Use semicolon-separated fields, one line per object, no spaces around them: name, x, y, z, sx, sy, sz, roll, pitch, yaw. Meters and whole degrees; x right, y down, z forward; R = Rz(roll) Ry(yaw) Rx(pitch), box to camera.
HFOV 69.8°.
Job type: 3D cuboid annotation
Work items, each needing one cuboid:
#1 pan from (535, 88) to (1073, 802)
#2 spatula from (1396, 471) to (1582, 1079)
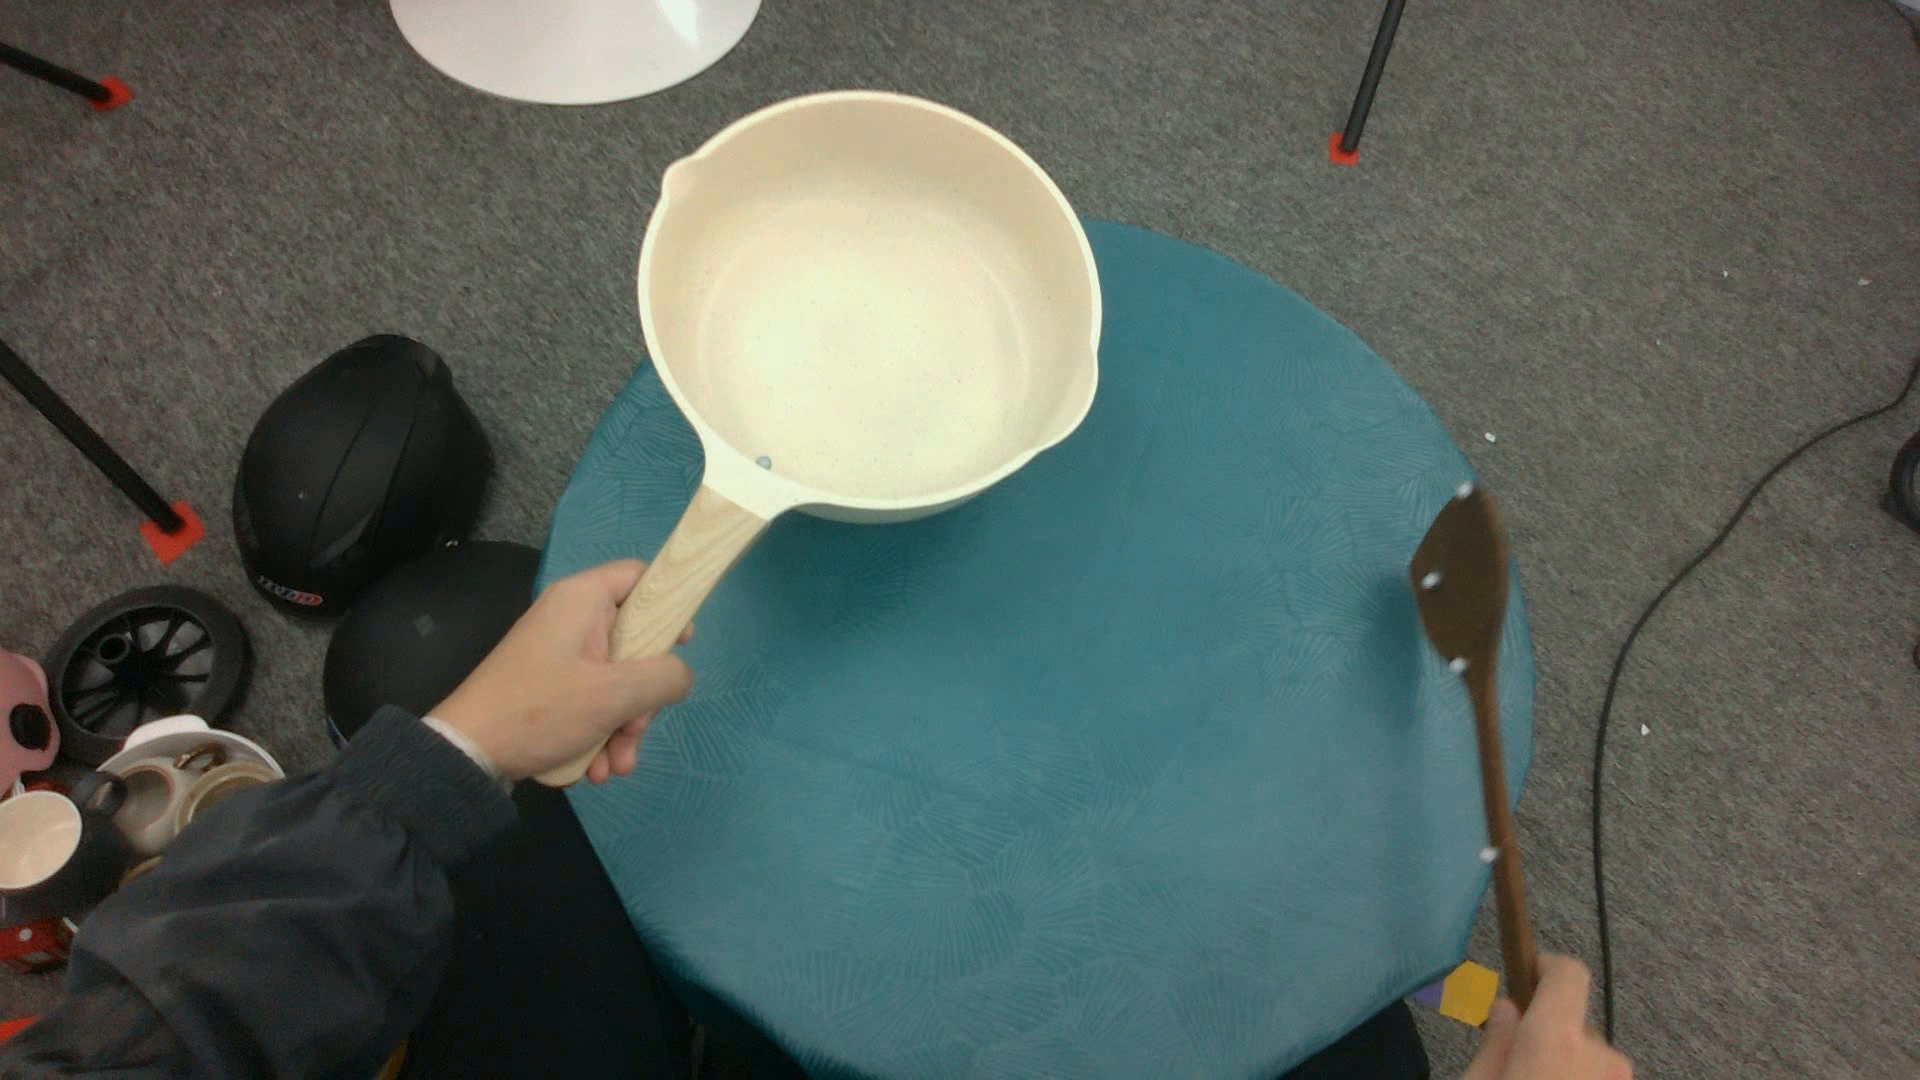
pan;-0.105;-0.052;0.755;0.263;0.101;0.436;28;70;-2
spatula;0.280;0.132;0.724;0.016;0.095;0.387;6;54;-5
